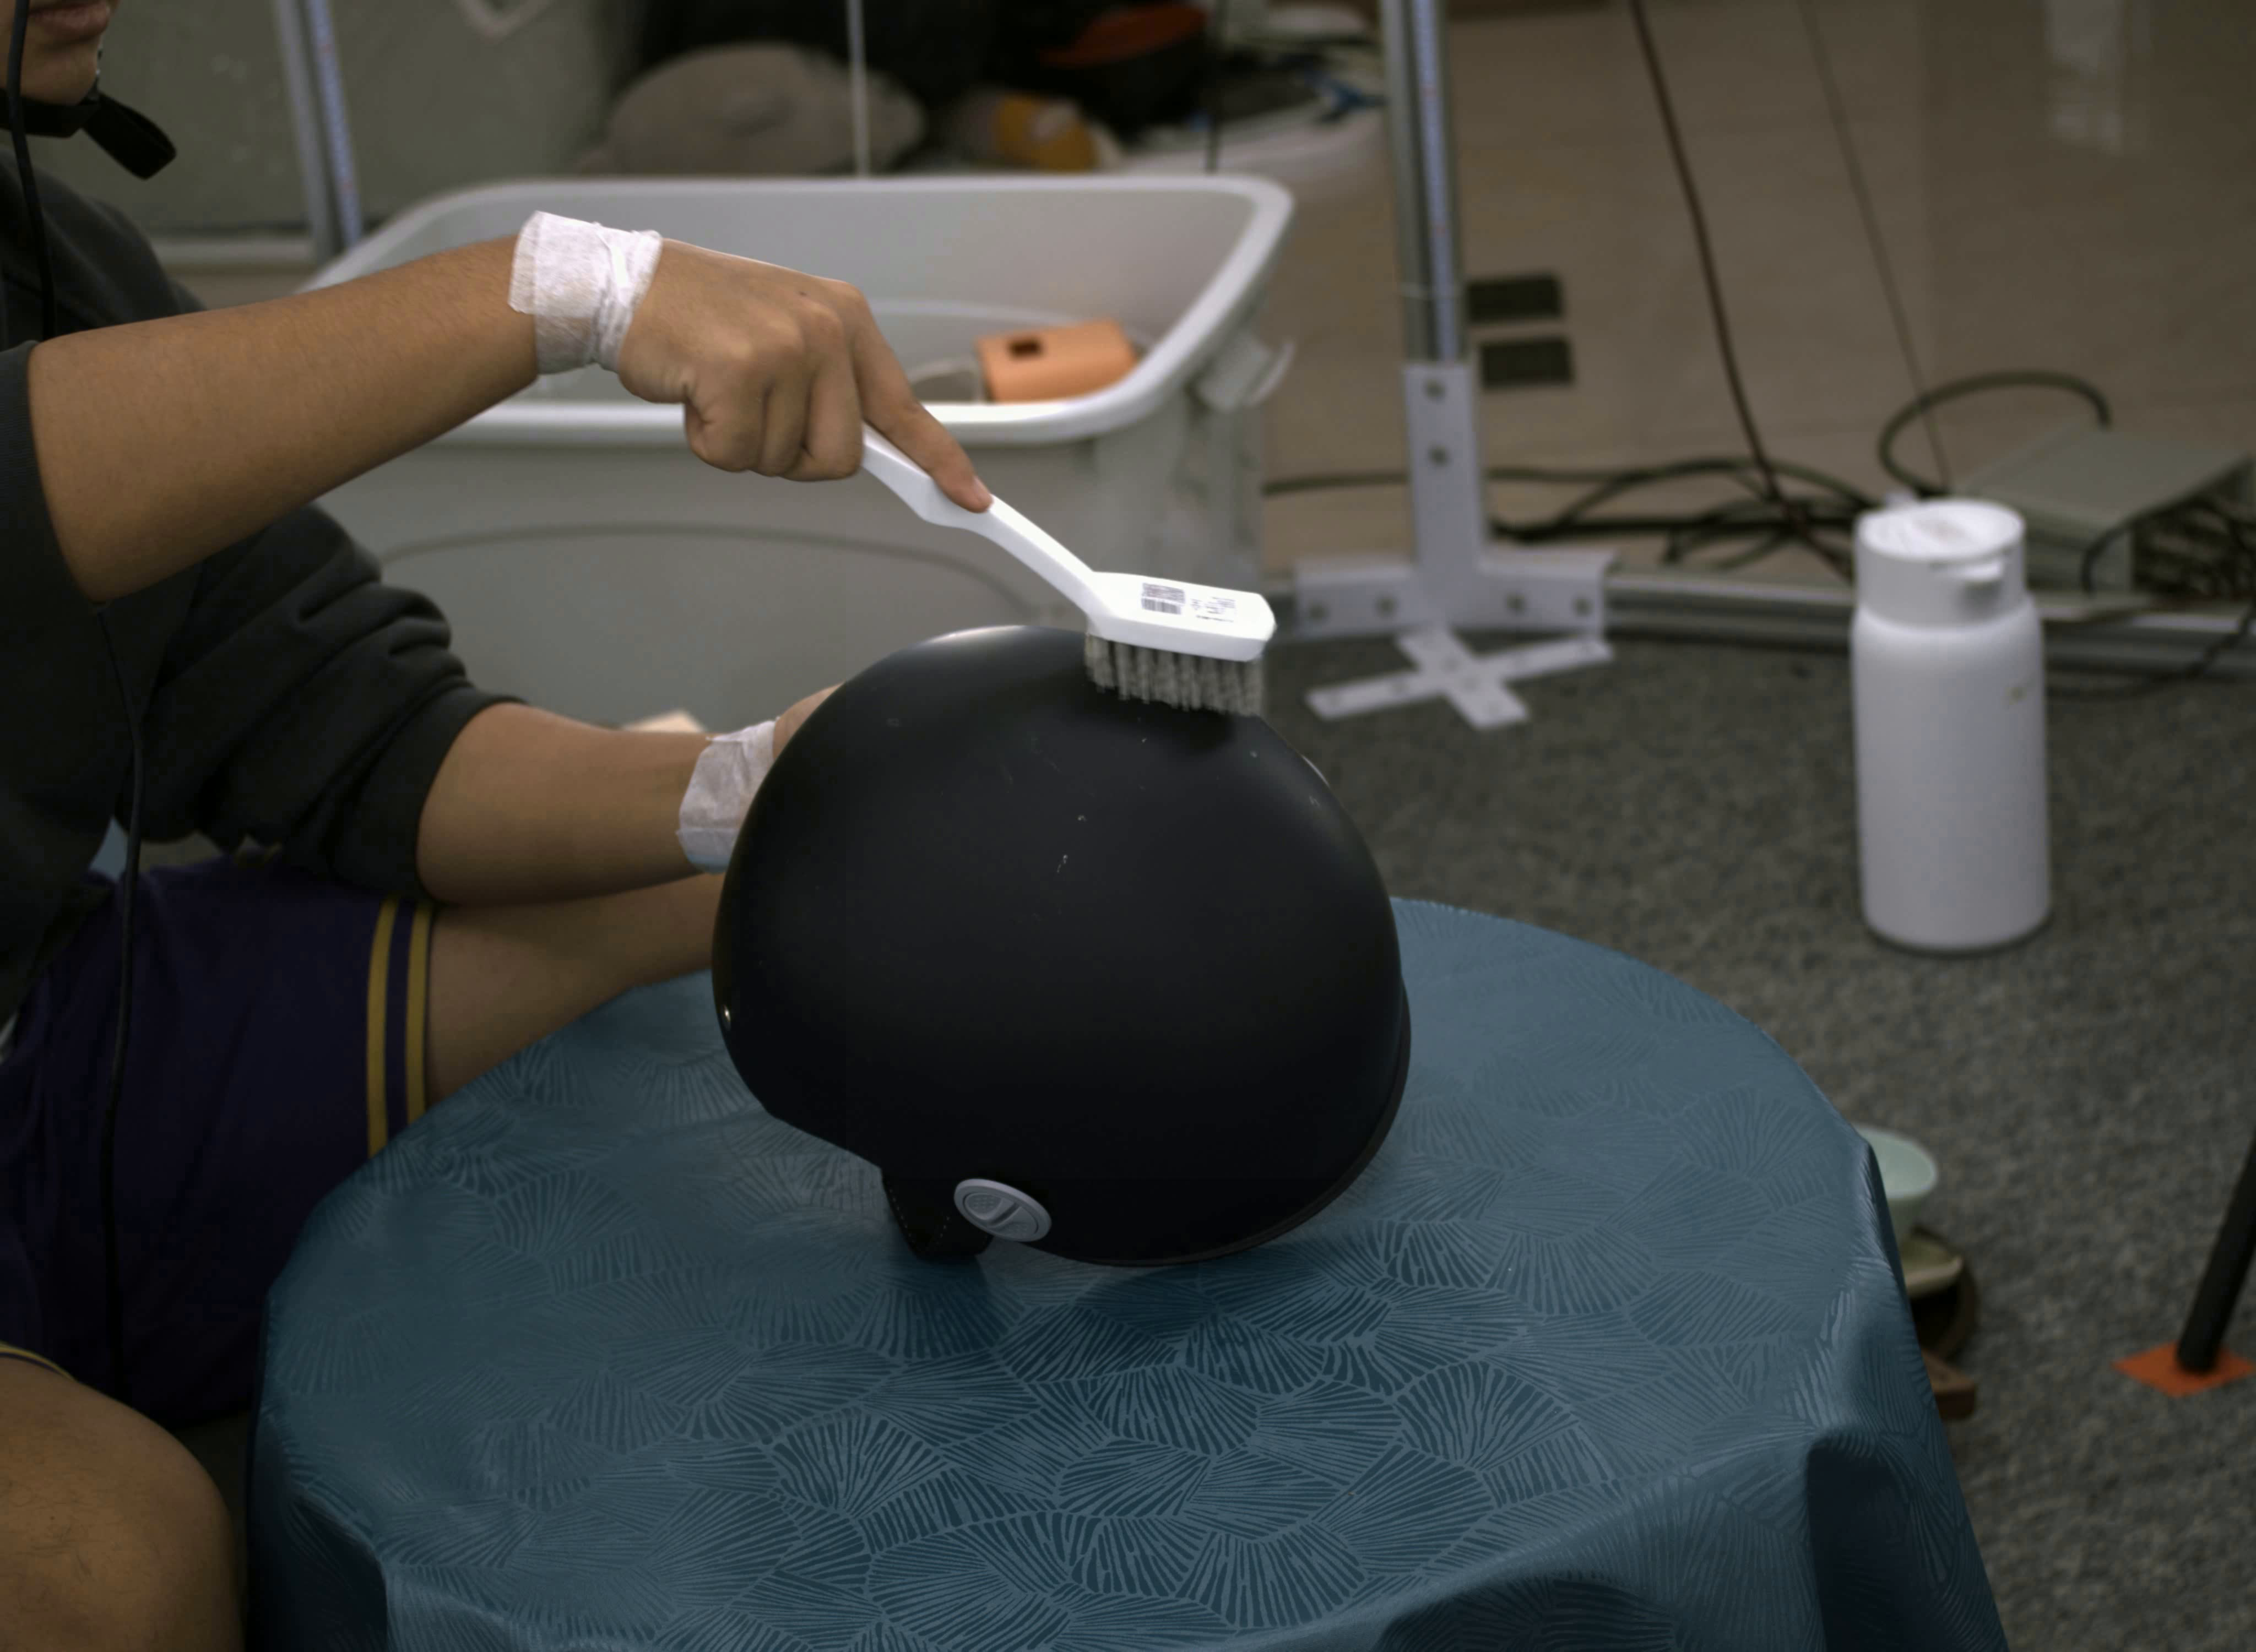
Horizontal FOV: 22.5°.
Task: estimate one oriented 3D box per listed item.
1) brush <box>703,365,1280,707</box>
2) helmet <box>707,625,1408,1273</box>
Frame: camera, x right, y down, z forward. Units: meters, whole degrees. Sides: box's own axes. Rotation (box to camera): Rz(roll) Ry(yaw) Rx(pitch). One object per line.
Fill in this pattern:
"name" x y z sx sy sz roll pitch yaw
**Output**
"brush" -0.052 -0.100 2.035 0.244 0.051 0.034 22 30 -20
"helmet" -0.028 0.028 2.097 0.271 0.170 0.227 27 63 19
